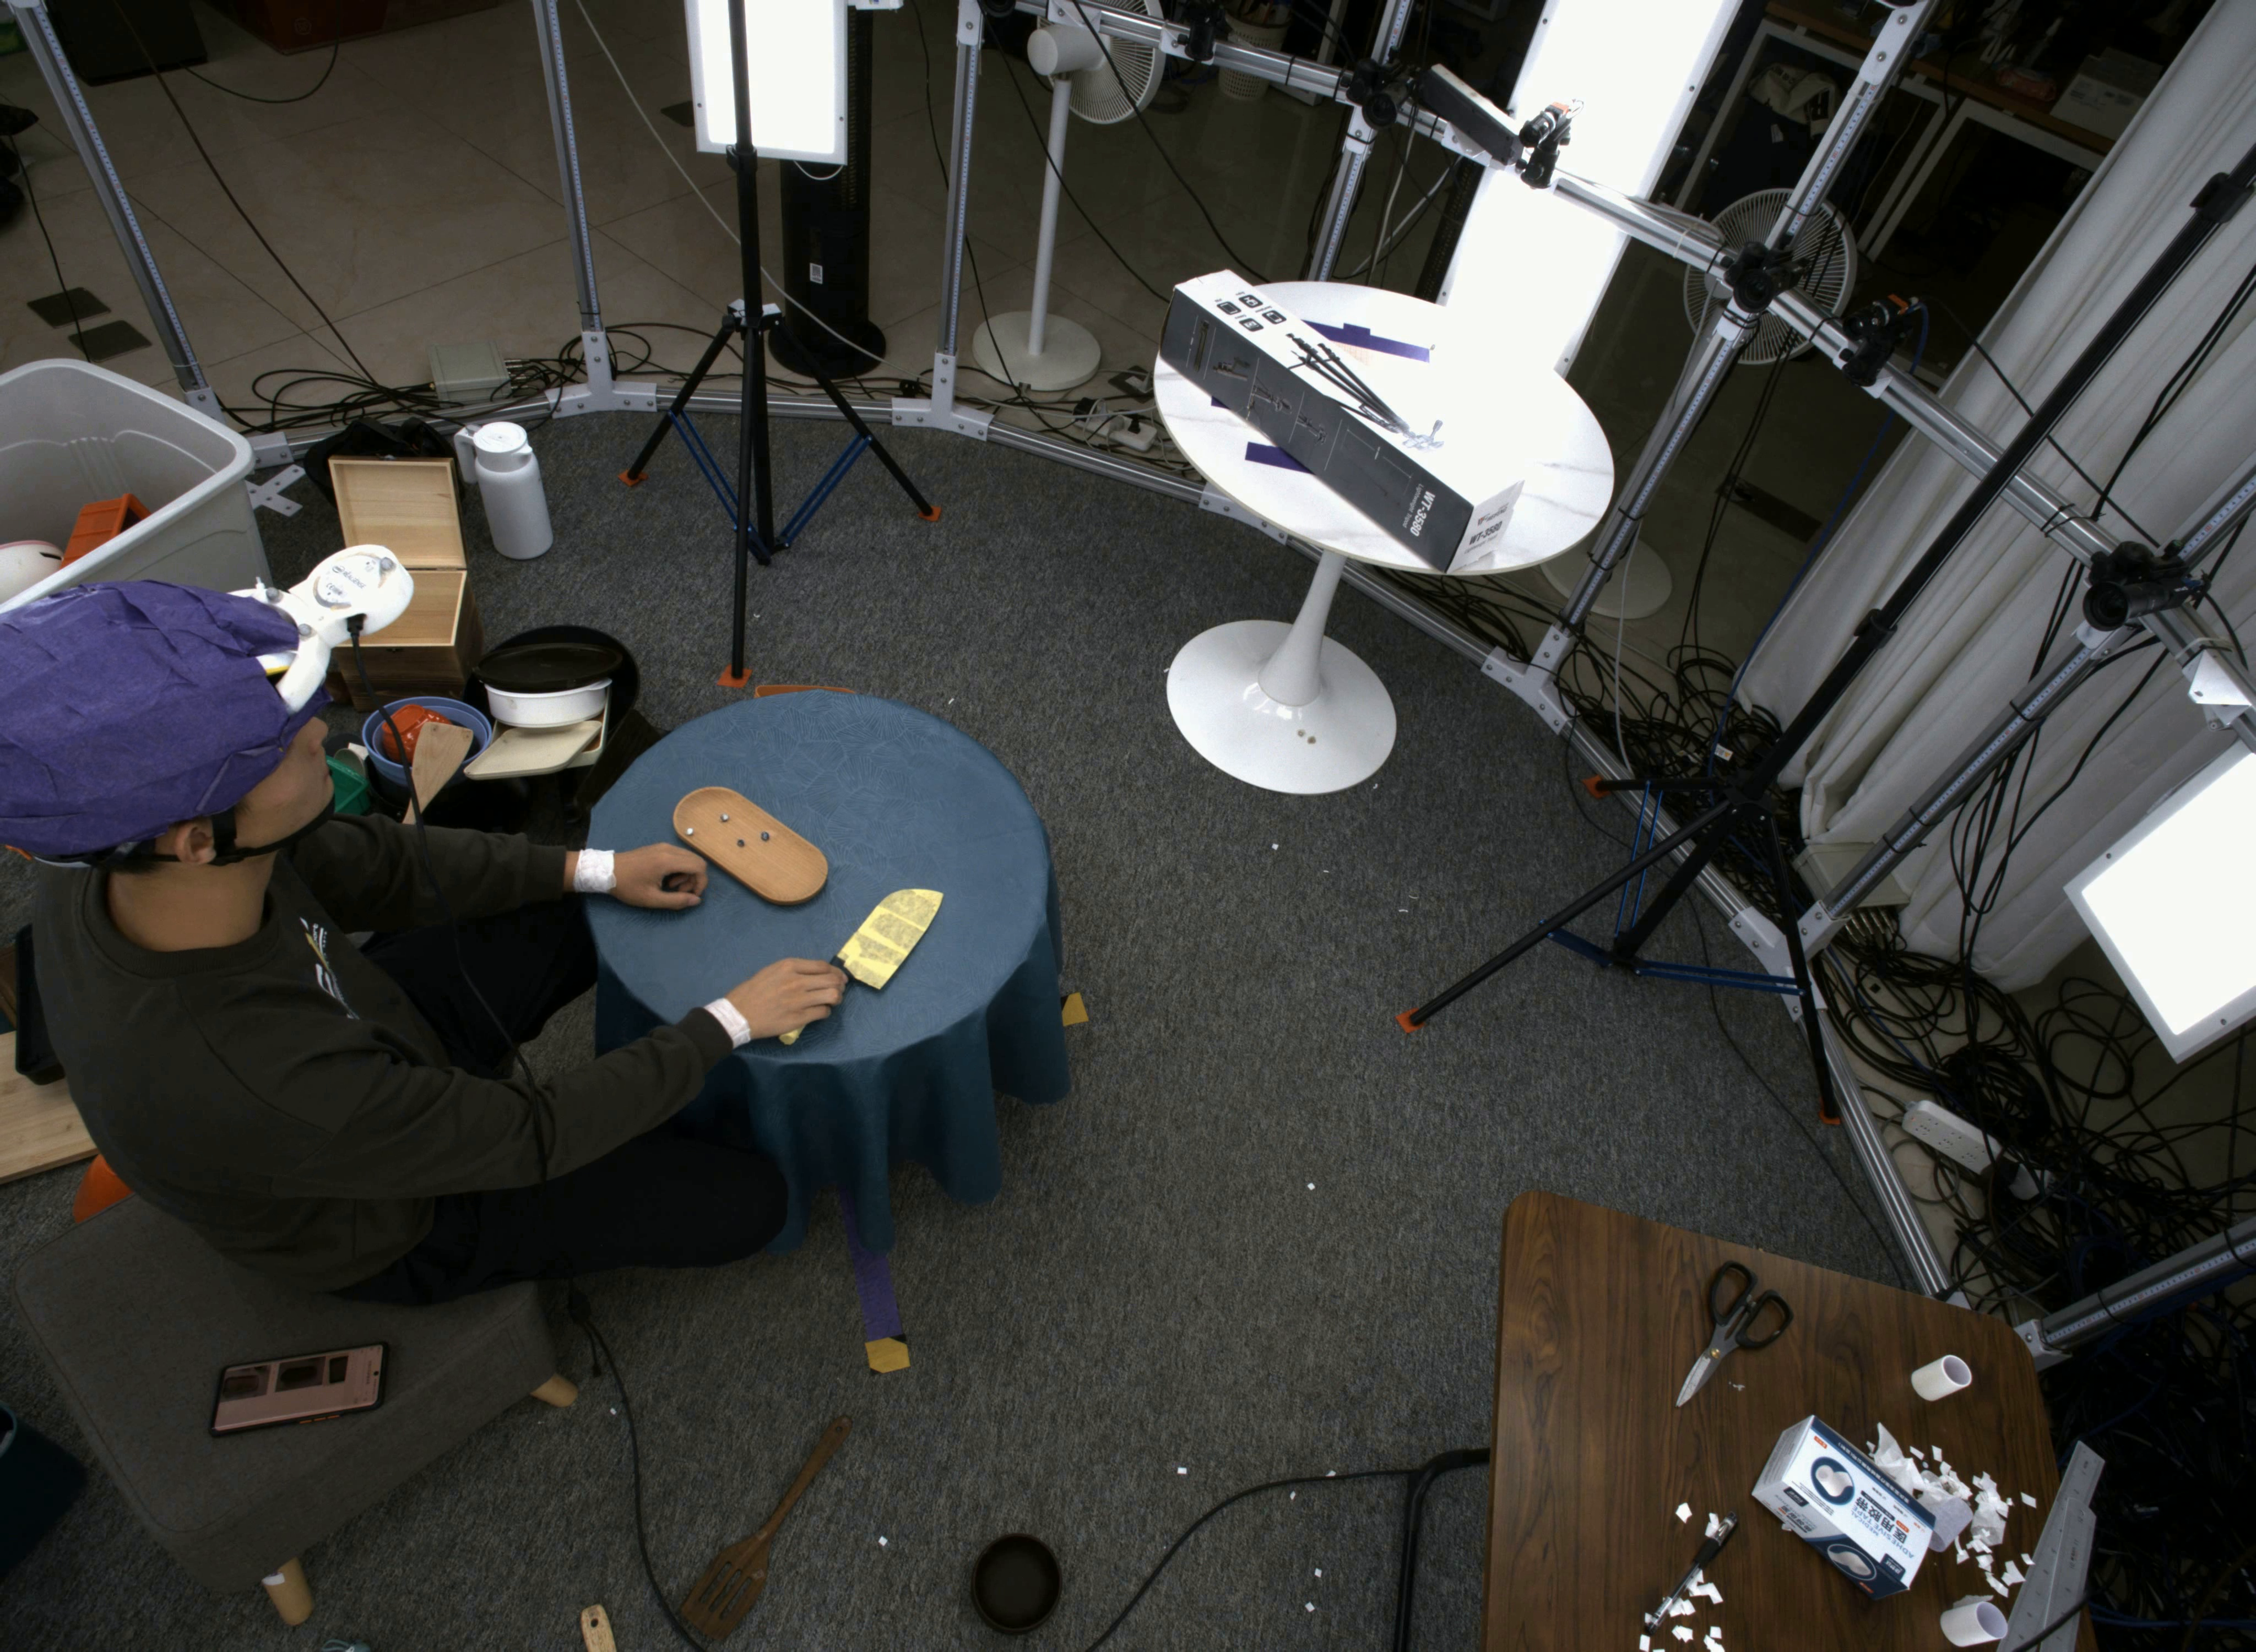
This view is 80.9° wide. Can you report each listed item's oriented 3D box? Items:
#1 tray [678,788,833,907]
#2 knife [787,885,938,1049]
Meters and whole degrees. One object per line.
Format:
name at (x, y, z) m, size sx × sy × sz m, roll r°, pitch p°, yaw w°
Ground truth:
tray at (-0.487, 0.026, 1.689) m, size 0.227 × 0.021 × 0.101 m, roll 33°, pitch 55°, yaw 9°
knife at (-0.326, 0.169, 1.622) m, size 0.079 × 0.028 × 0.288 m, roll 26°, pitch 50°, yaw 12°
